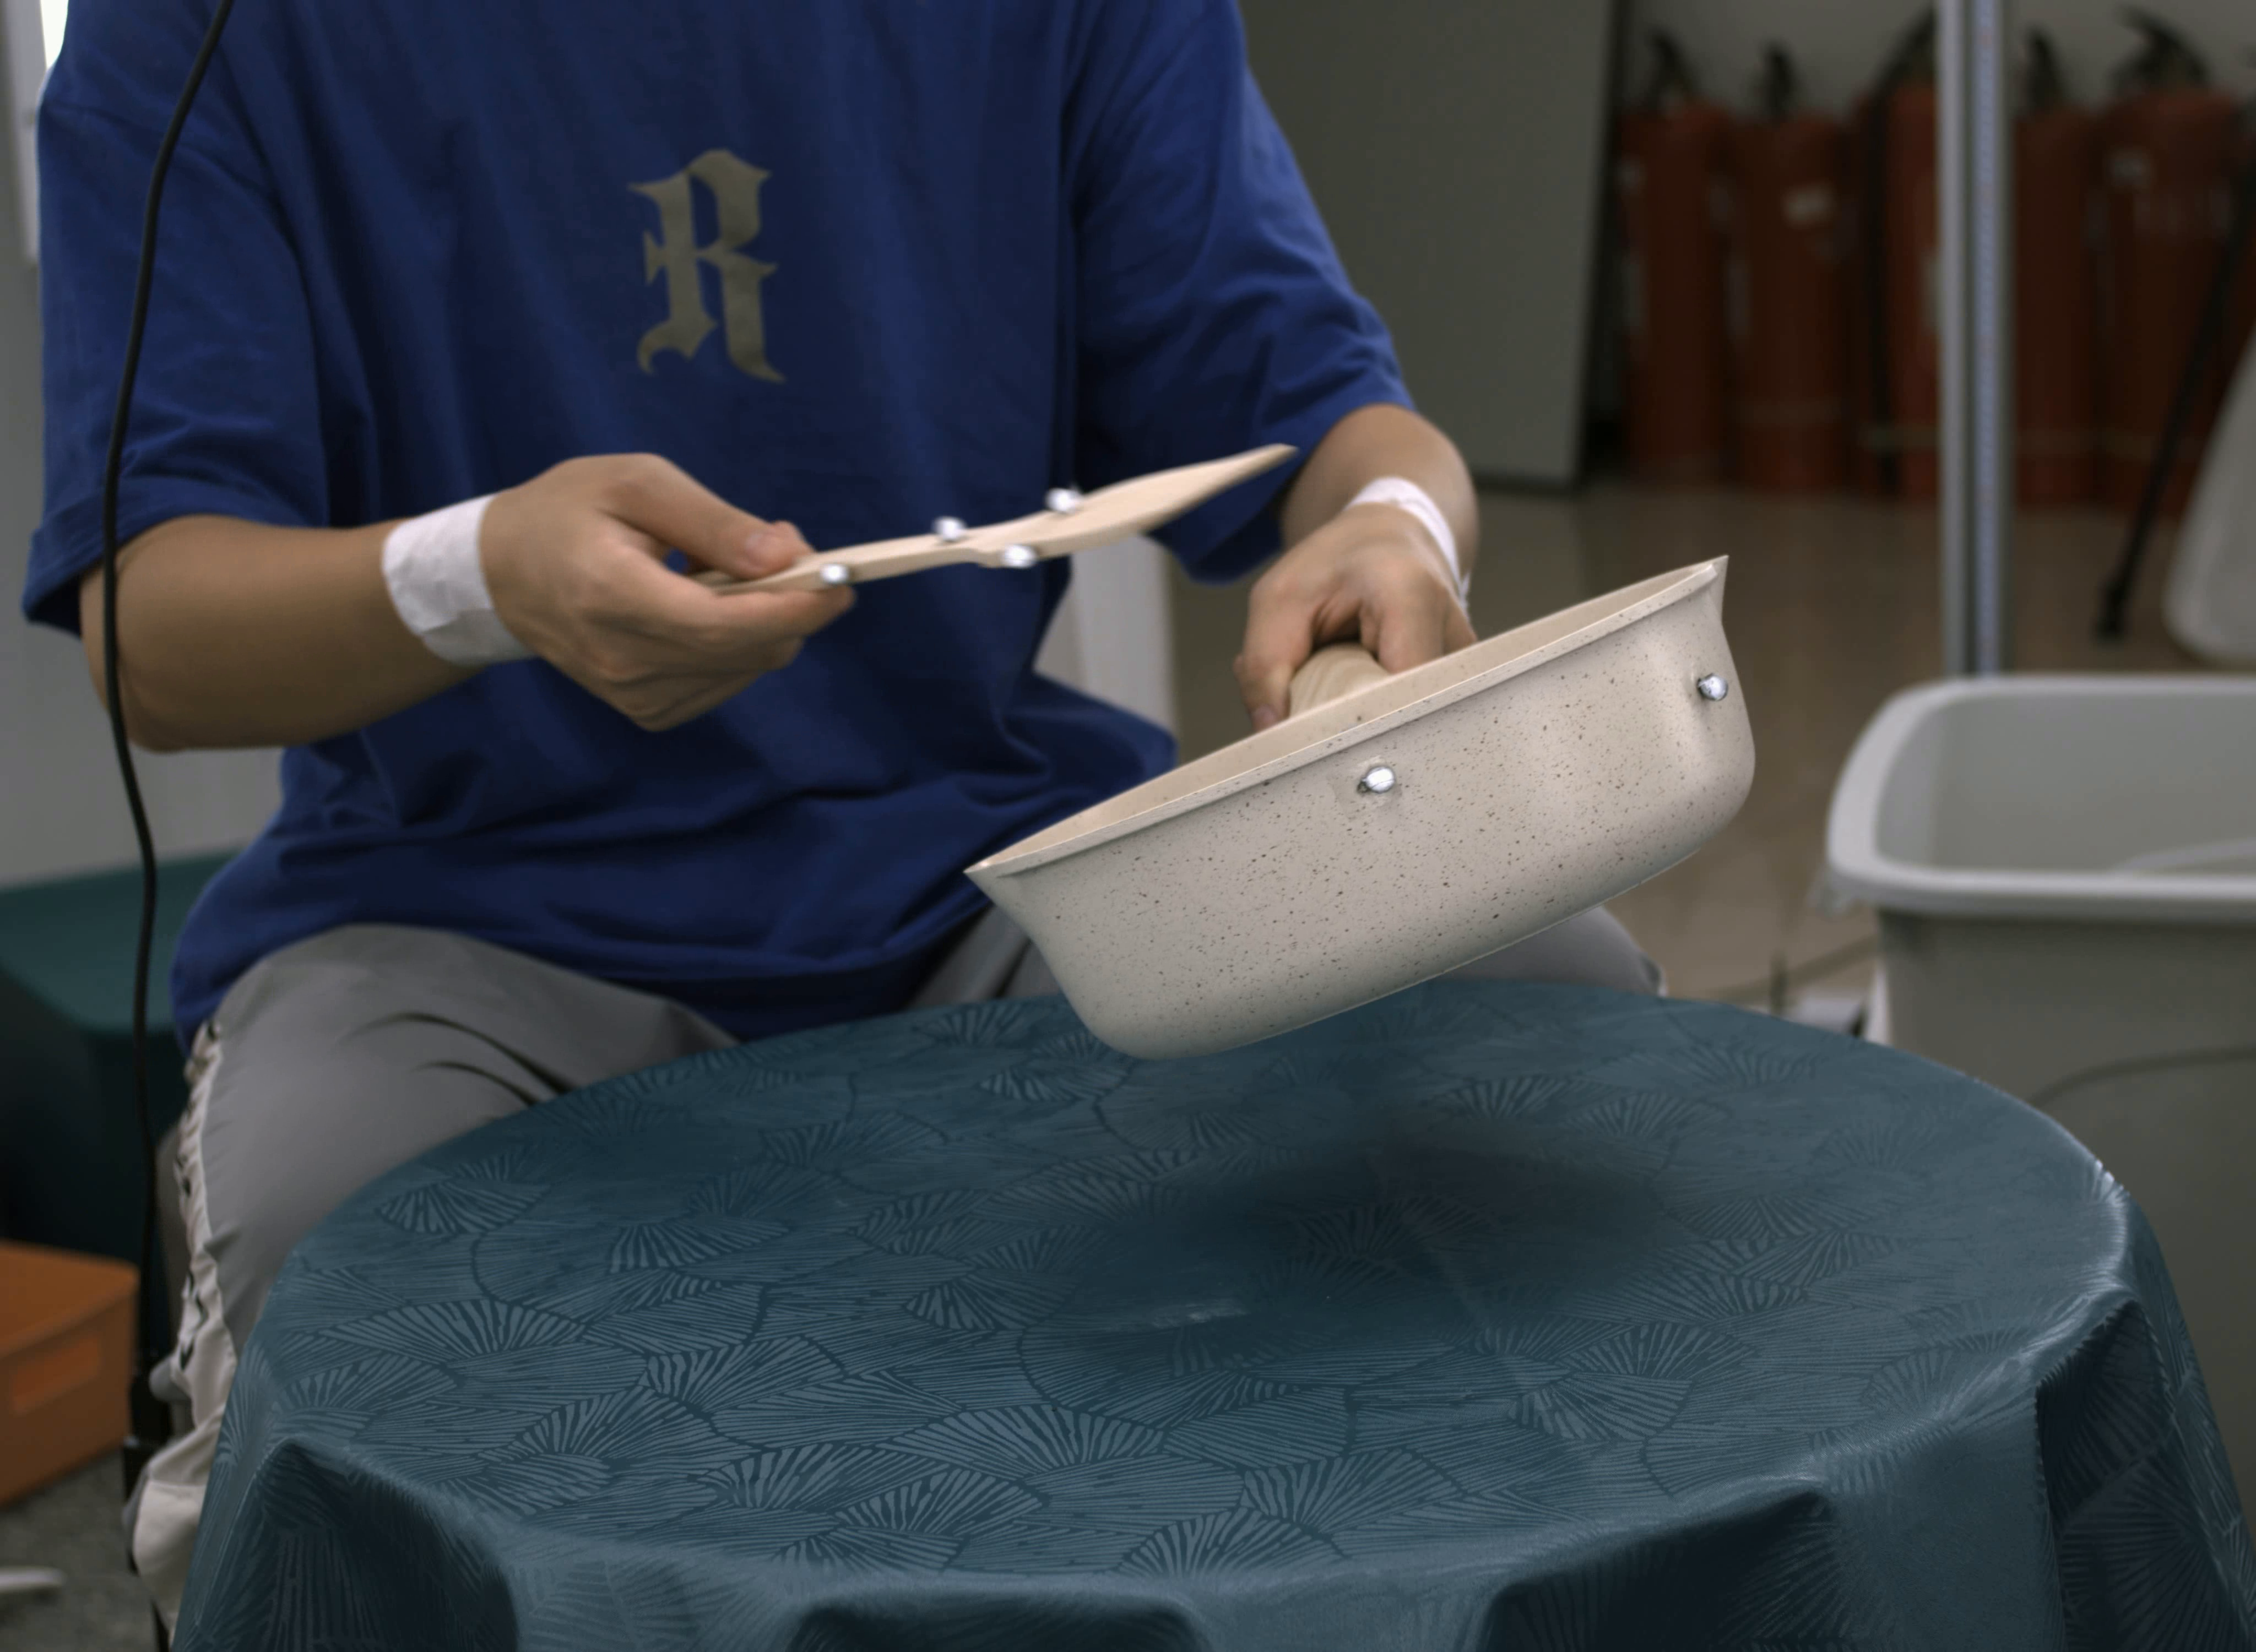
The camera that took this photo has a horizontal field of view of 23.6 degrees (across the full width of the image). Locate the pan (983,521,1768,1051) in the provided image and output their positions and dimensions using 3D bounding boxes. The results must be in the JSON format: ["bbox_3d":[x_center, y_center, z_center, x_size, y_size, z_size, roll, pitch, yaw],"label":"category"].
[{"bbox_3d":[0.086,-0.015,1.794,0.261,0.103,0.434,-25,1,1],"label":"pan"}]

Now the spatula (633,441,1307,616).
[{"bbox_3d":[-0.065,-0.092,1.784,0.295,0.011,0.071,-8,15,45],"label":"spatula"}]
